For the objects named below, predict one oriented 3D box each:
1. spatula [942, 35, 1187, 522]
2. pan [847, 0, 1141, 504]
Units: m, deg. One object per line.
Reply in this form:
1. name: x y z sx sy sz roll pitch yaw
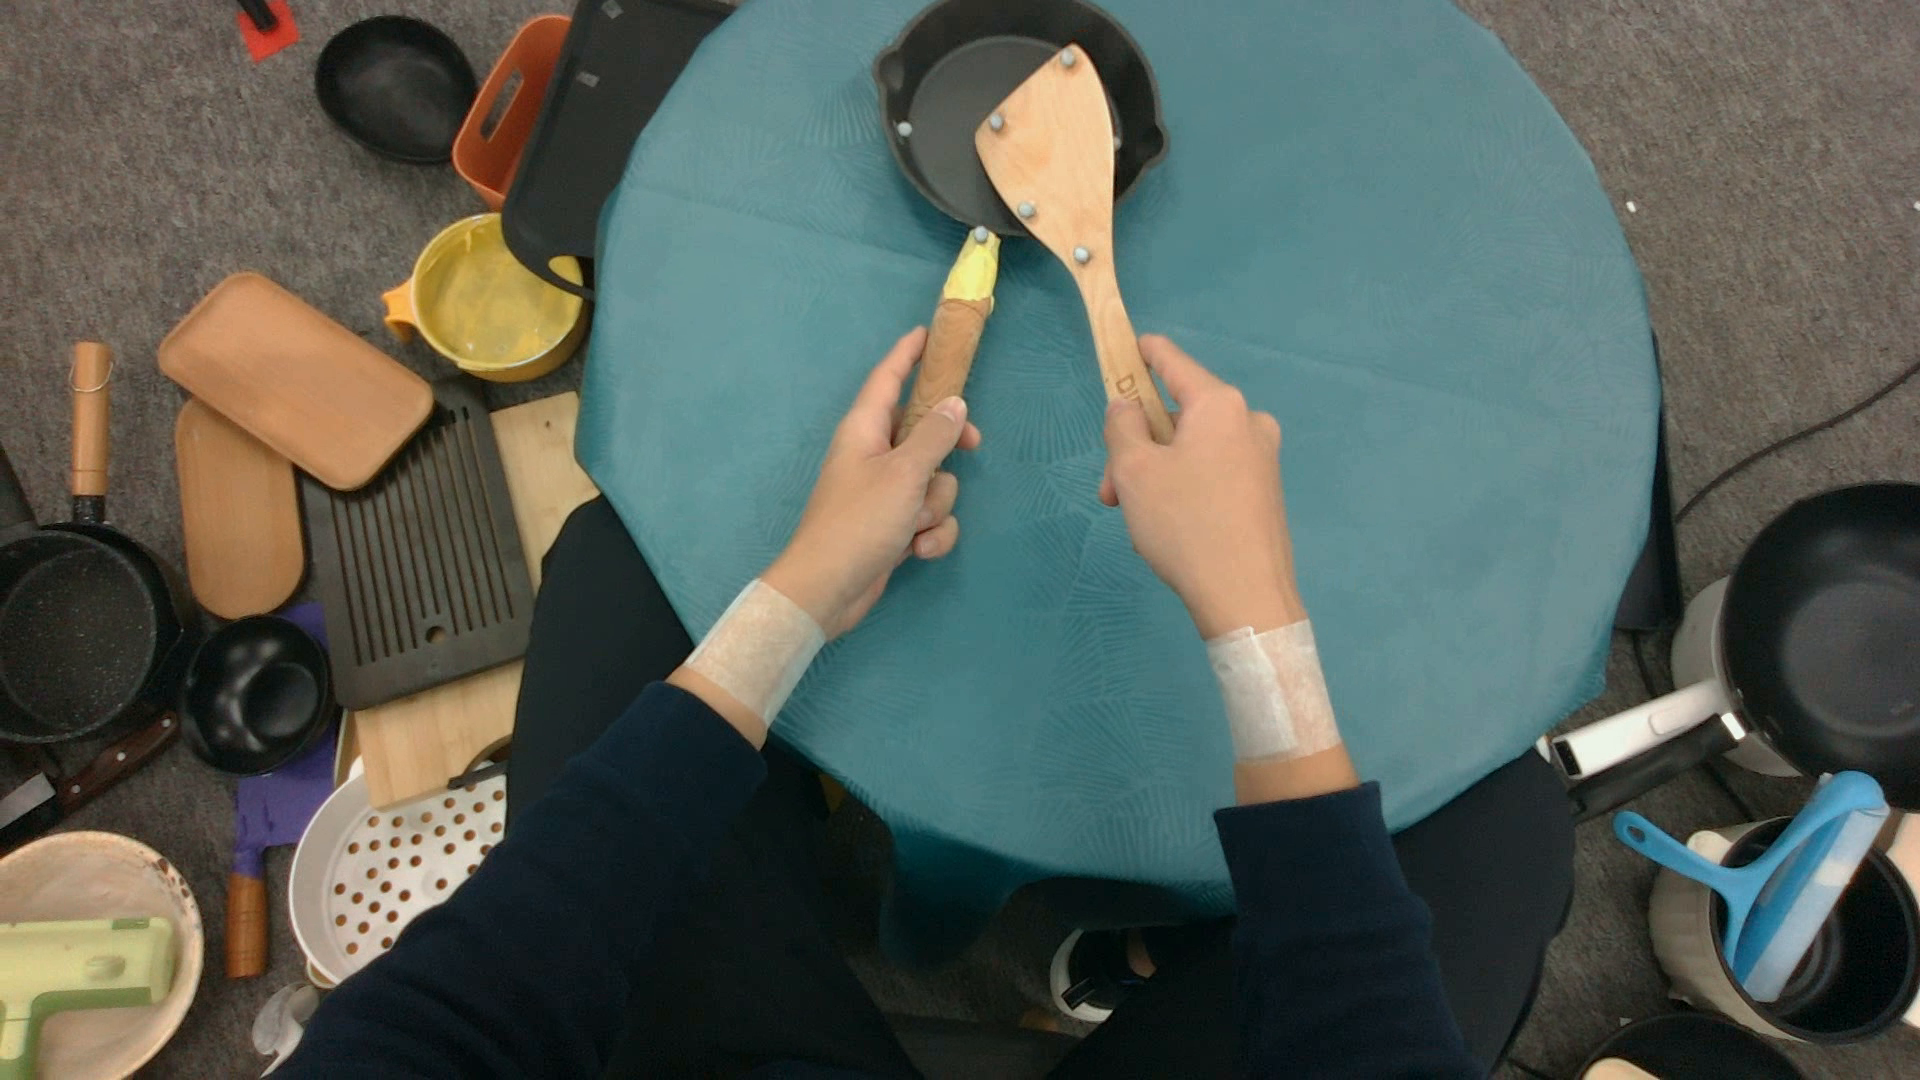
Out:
1. spatula: 0.053 -0.138 0.689 0.080 0.016 0.329 -30 50 19
2. pan: -0.004 -0.168 0.746 0.169 0.049 0.325 16 73 -1
